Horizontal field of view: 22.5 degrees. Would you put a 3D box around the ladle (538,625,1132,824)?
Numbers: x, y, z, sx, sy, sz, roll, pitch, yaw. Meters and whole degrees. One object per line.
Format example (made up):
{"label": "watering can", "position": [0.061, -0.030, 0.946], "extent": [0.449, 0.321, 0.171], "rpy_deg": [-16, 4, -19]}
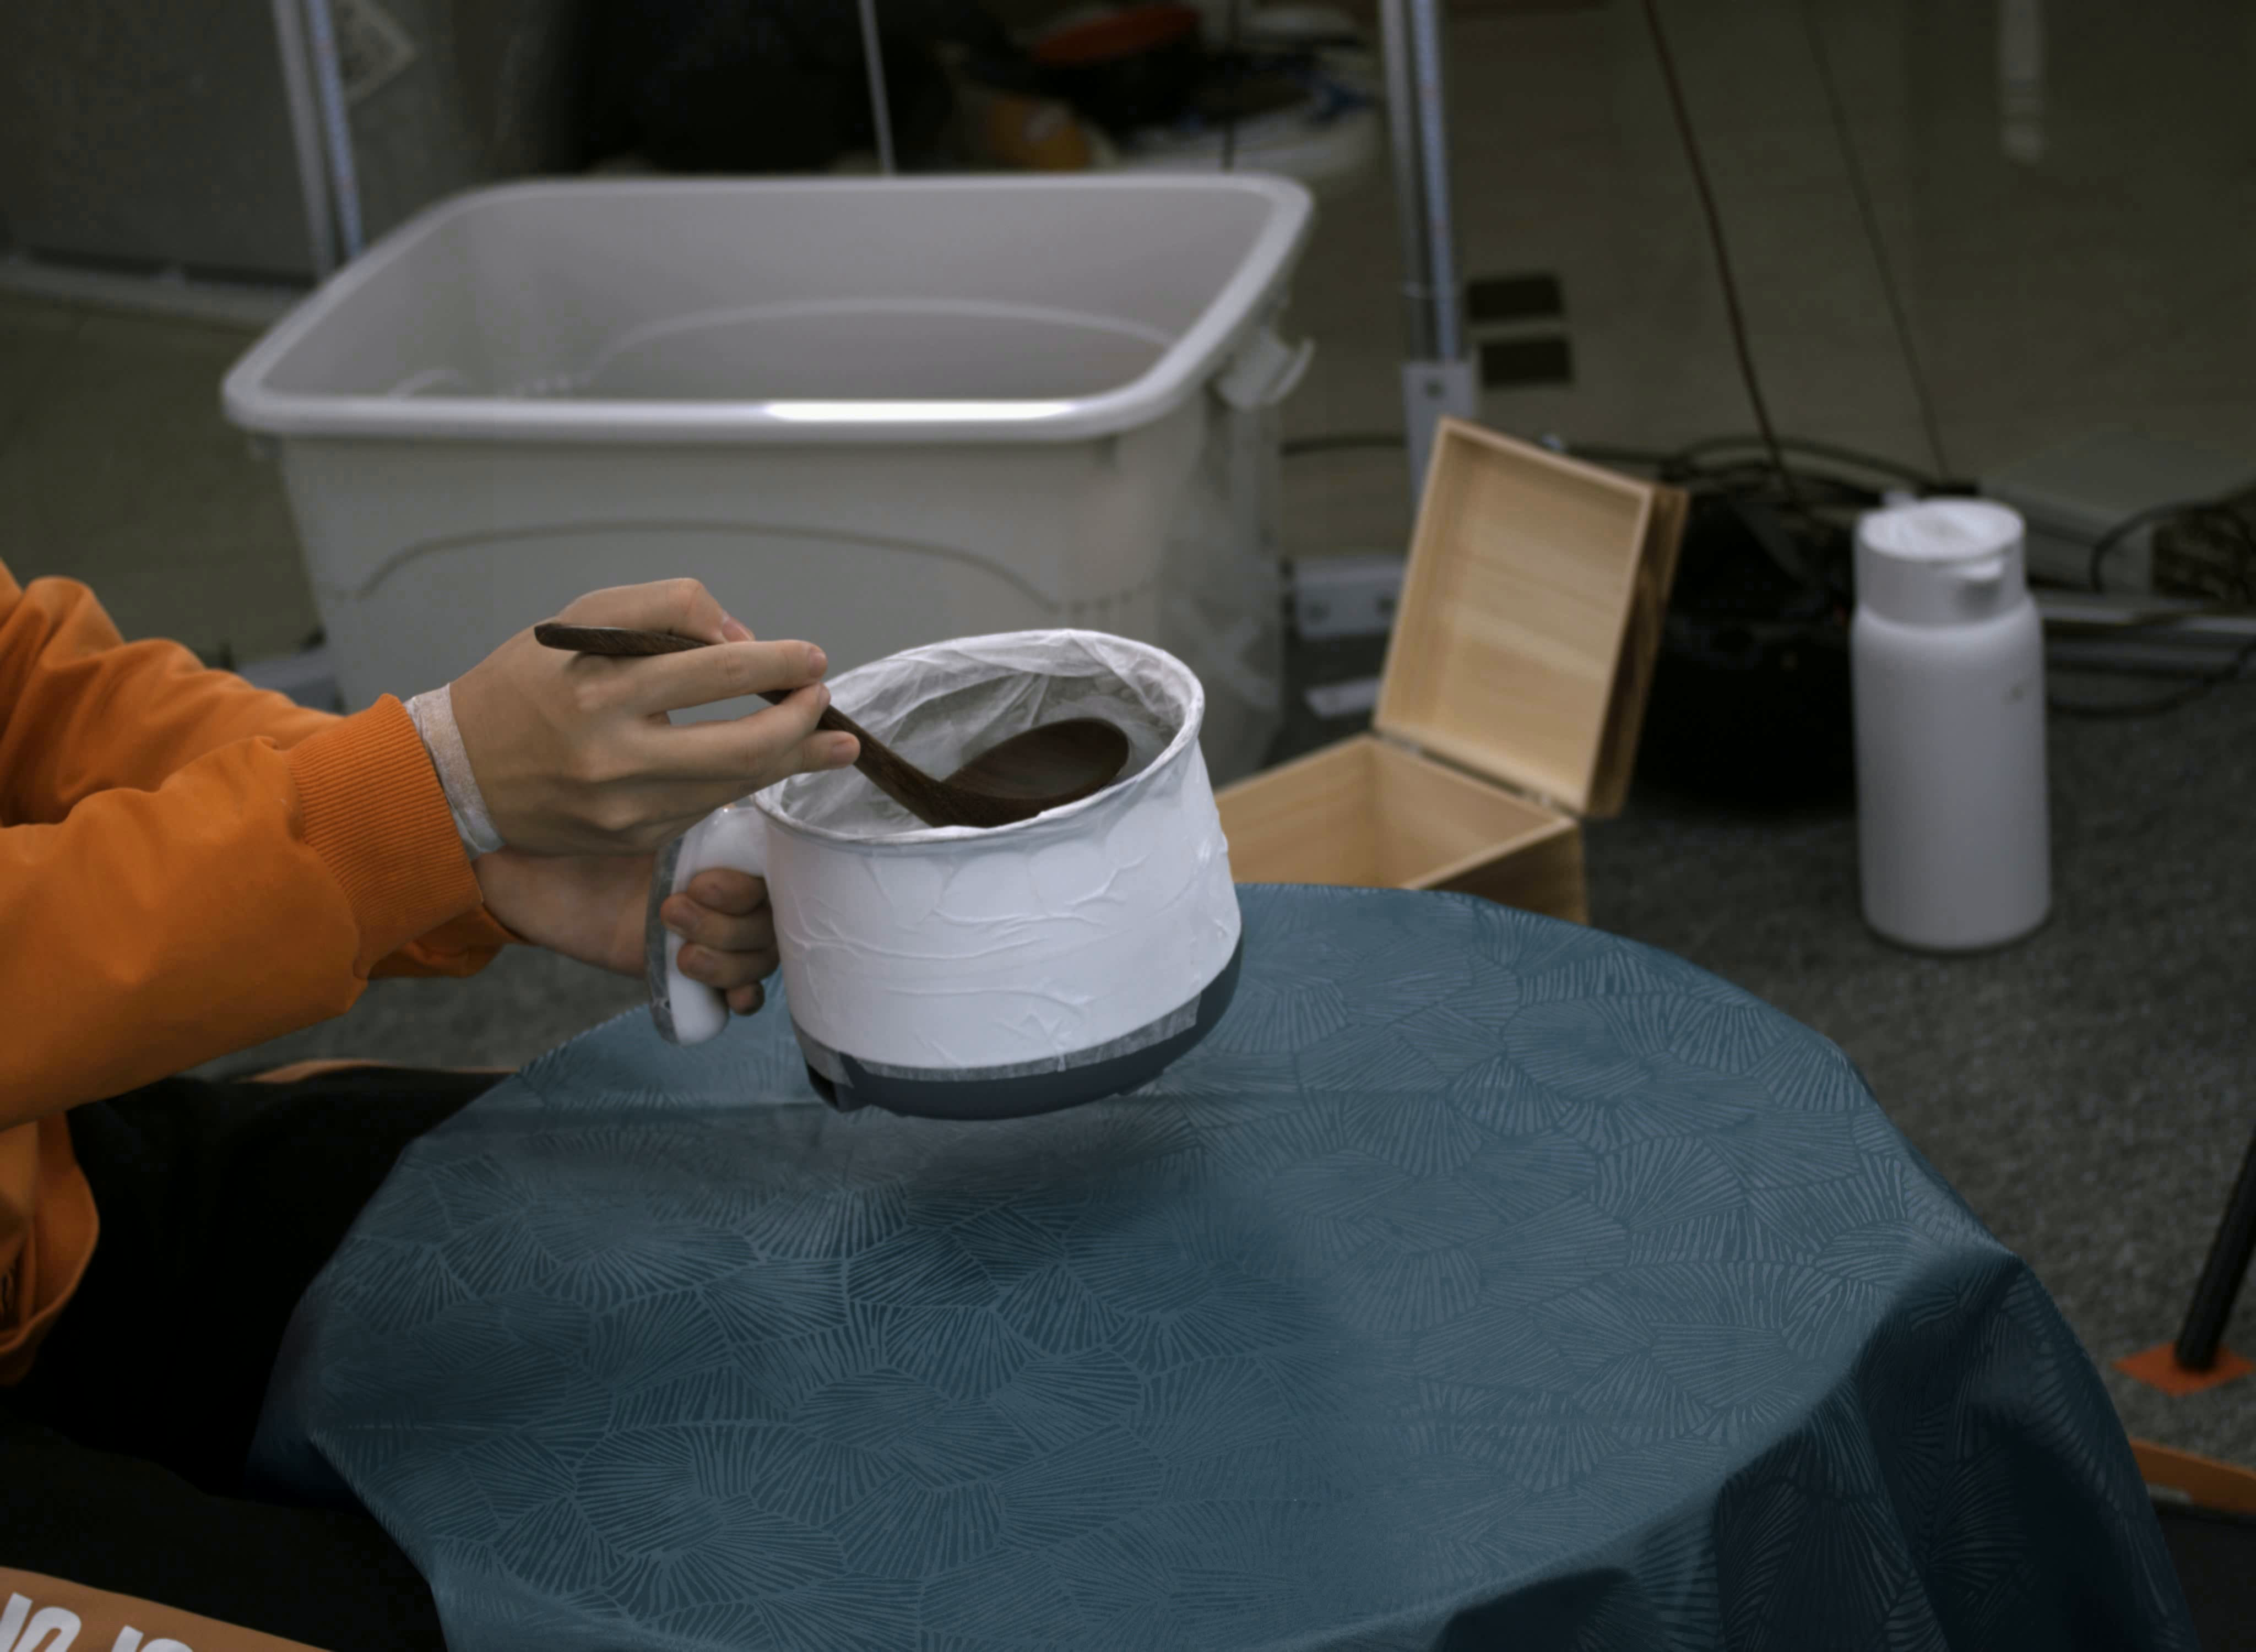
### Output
{"label": "ladle", "position": [-0.105, -0.054, 2.072], "extent": [0.076, 0.071, 0.276], "rpy_deg": [-2, -20, 42]}

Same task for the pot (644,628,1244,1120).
{"label": "pot", "position": [-0.075, 0.024, 2.158], "extent": [0.233, 0.139, 0.176], "rpy_deg": [-7, 26, 7]}
